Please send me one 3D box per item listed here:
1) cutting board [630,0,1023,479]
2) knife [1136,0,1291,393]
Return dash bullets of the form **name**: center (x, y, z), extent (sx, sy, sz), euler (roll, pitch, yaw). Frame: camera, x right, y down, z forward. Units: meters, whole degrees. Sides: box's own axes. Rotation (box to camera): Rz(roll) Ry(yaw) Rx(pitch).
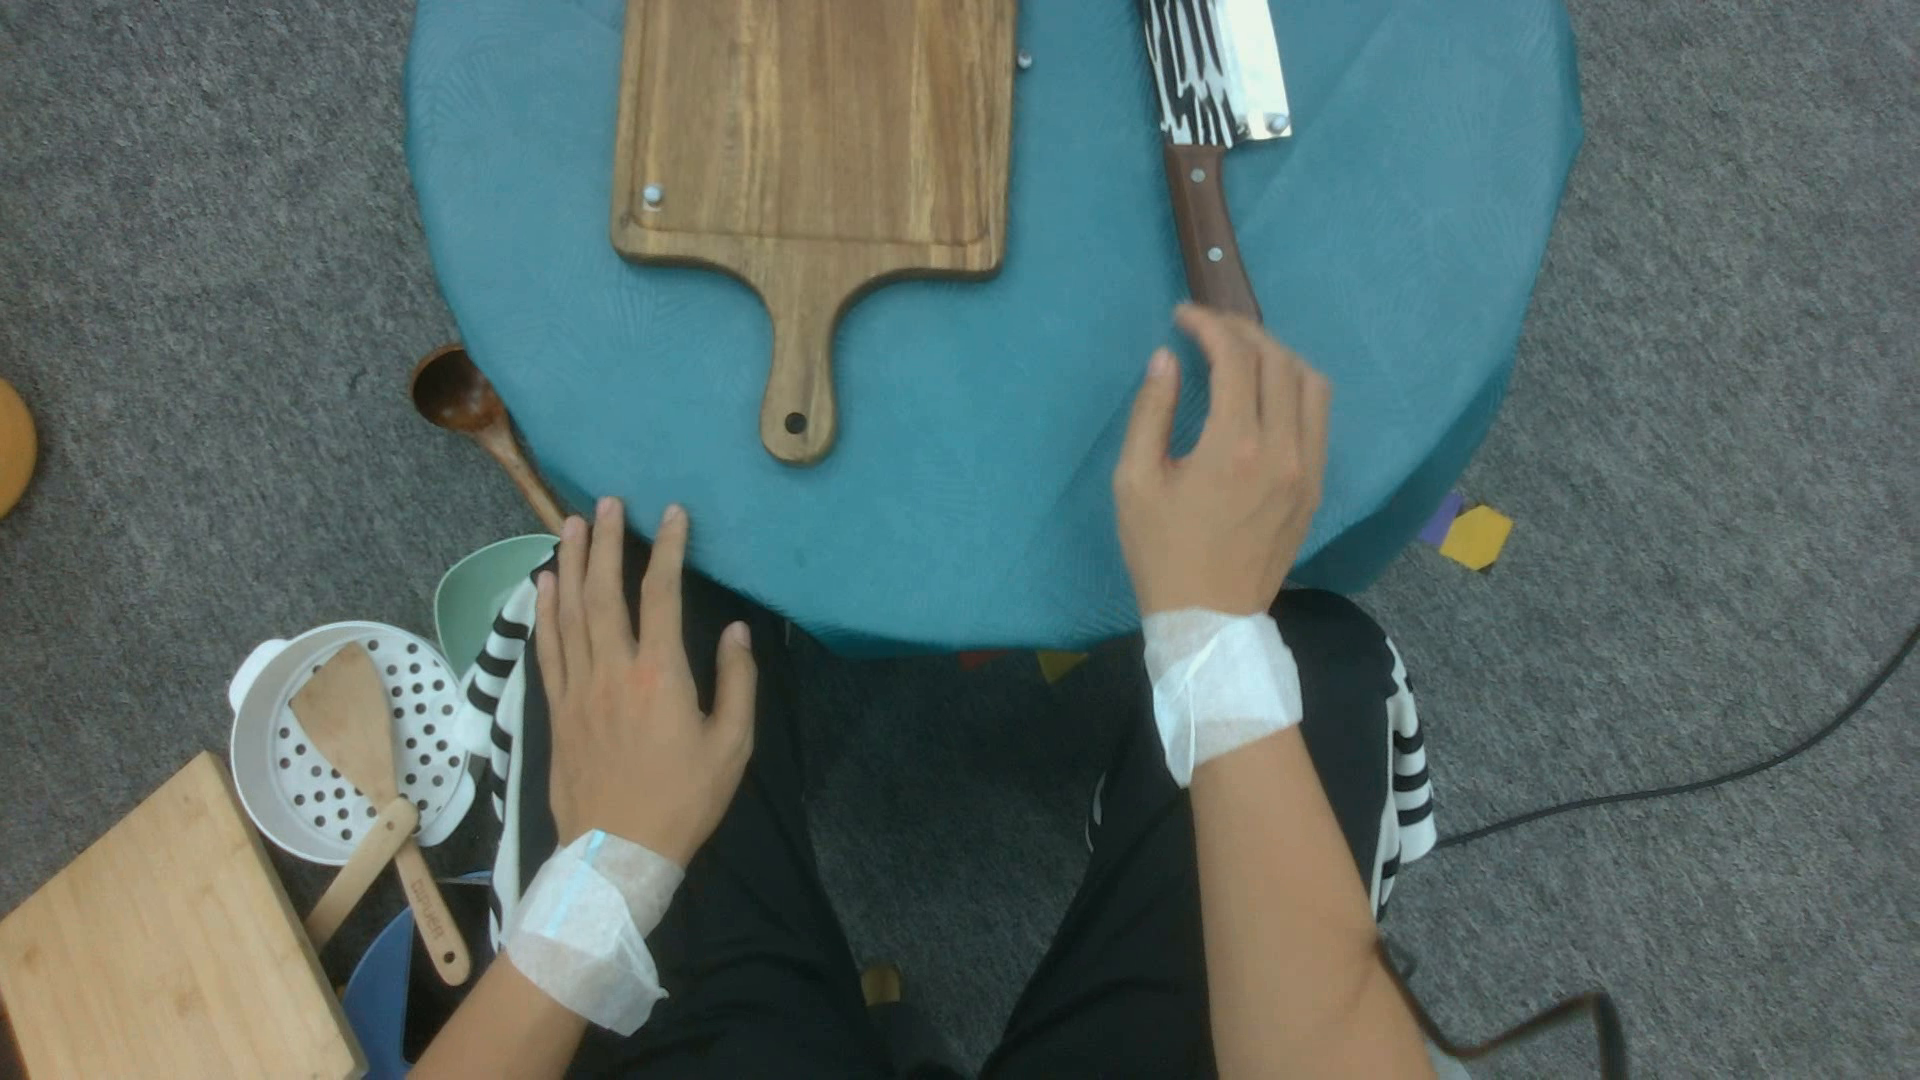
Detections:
- **cutting board**: center (-0.069, -0.207, 0.717), extent (0.201, 0.023, 0.352), euler (2, 83, -1)
- **knife**: center (0.135, -0.223, 0.716), extent (0.068, 0.024, 0.300), euler (-7, 79, -2)
